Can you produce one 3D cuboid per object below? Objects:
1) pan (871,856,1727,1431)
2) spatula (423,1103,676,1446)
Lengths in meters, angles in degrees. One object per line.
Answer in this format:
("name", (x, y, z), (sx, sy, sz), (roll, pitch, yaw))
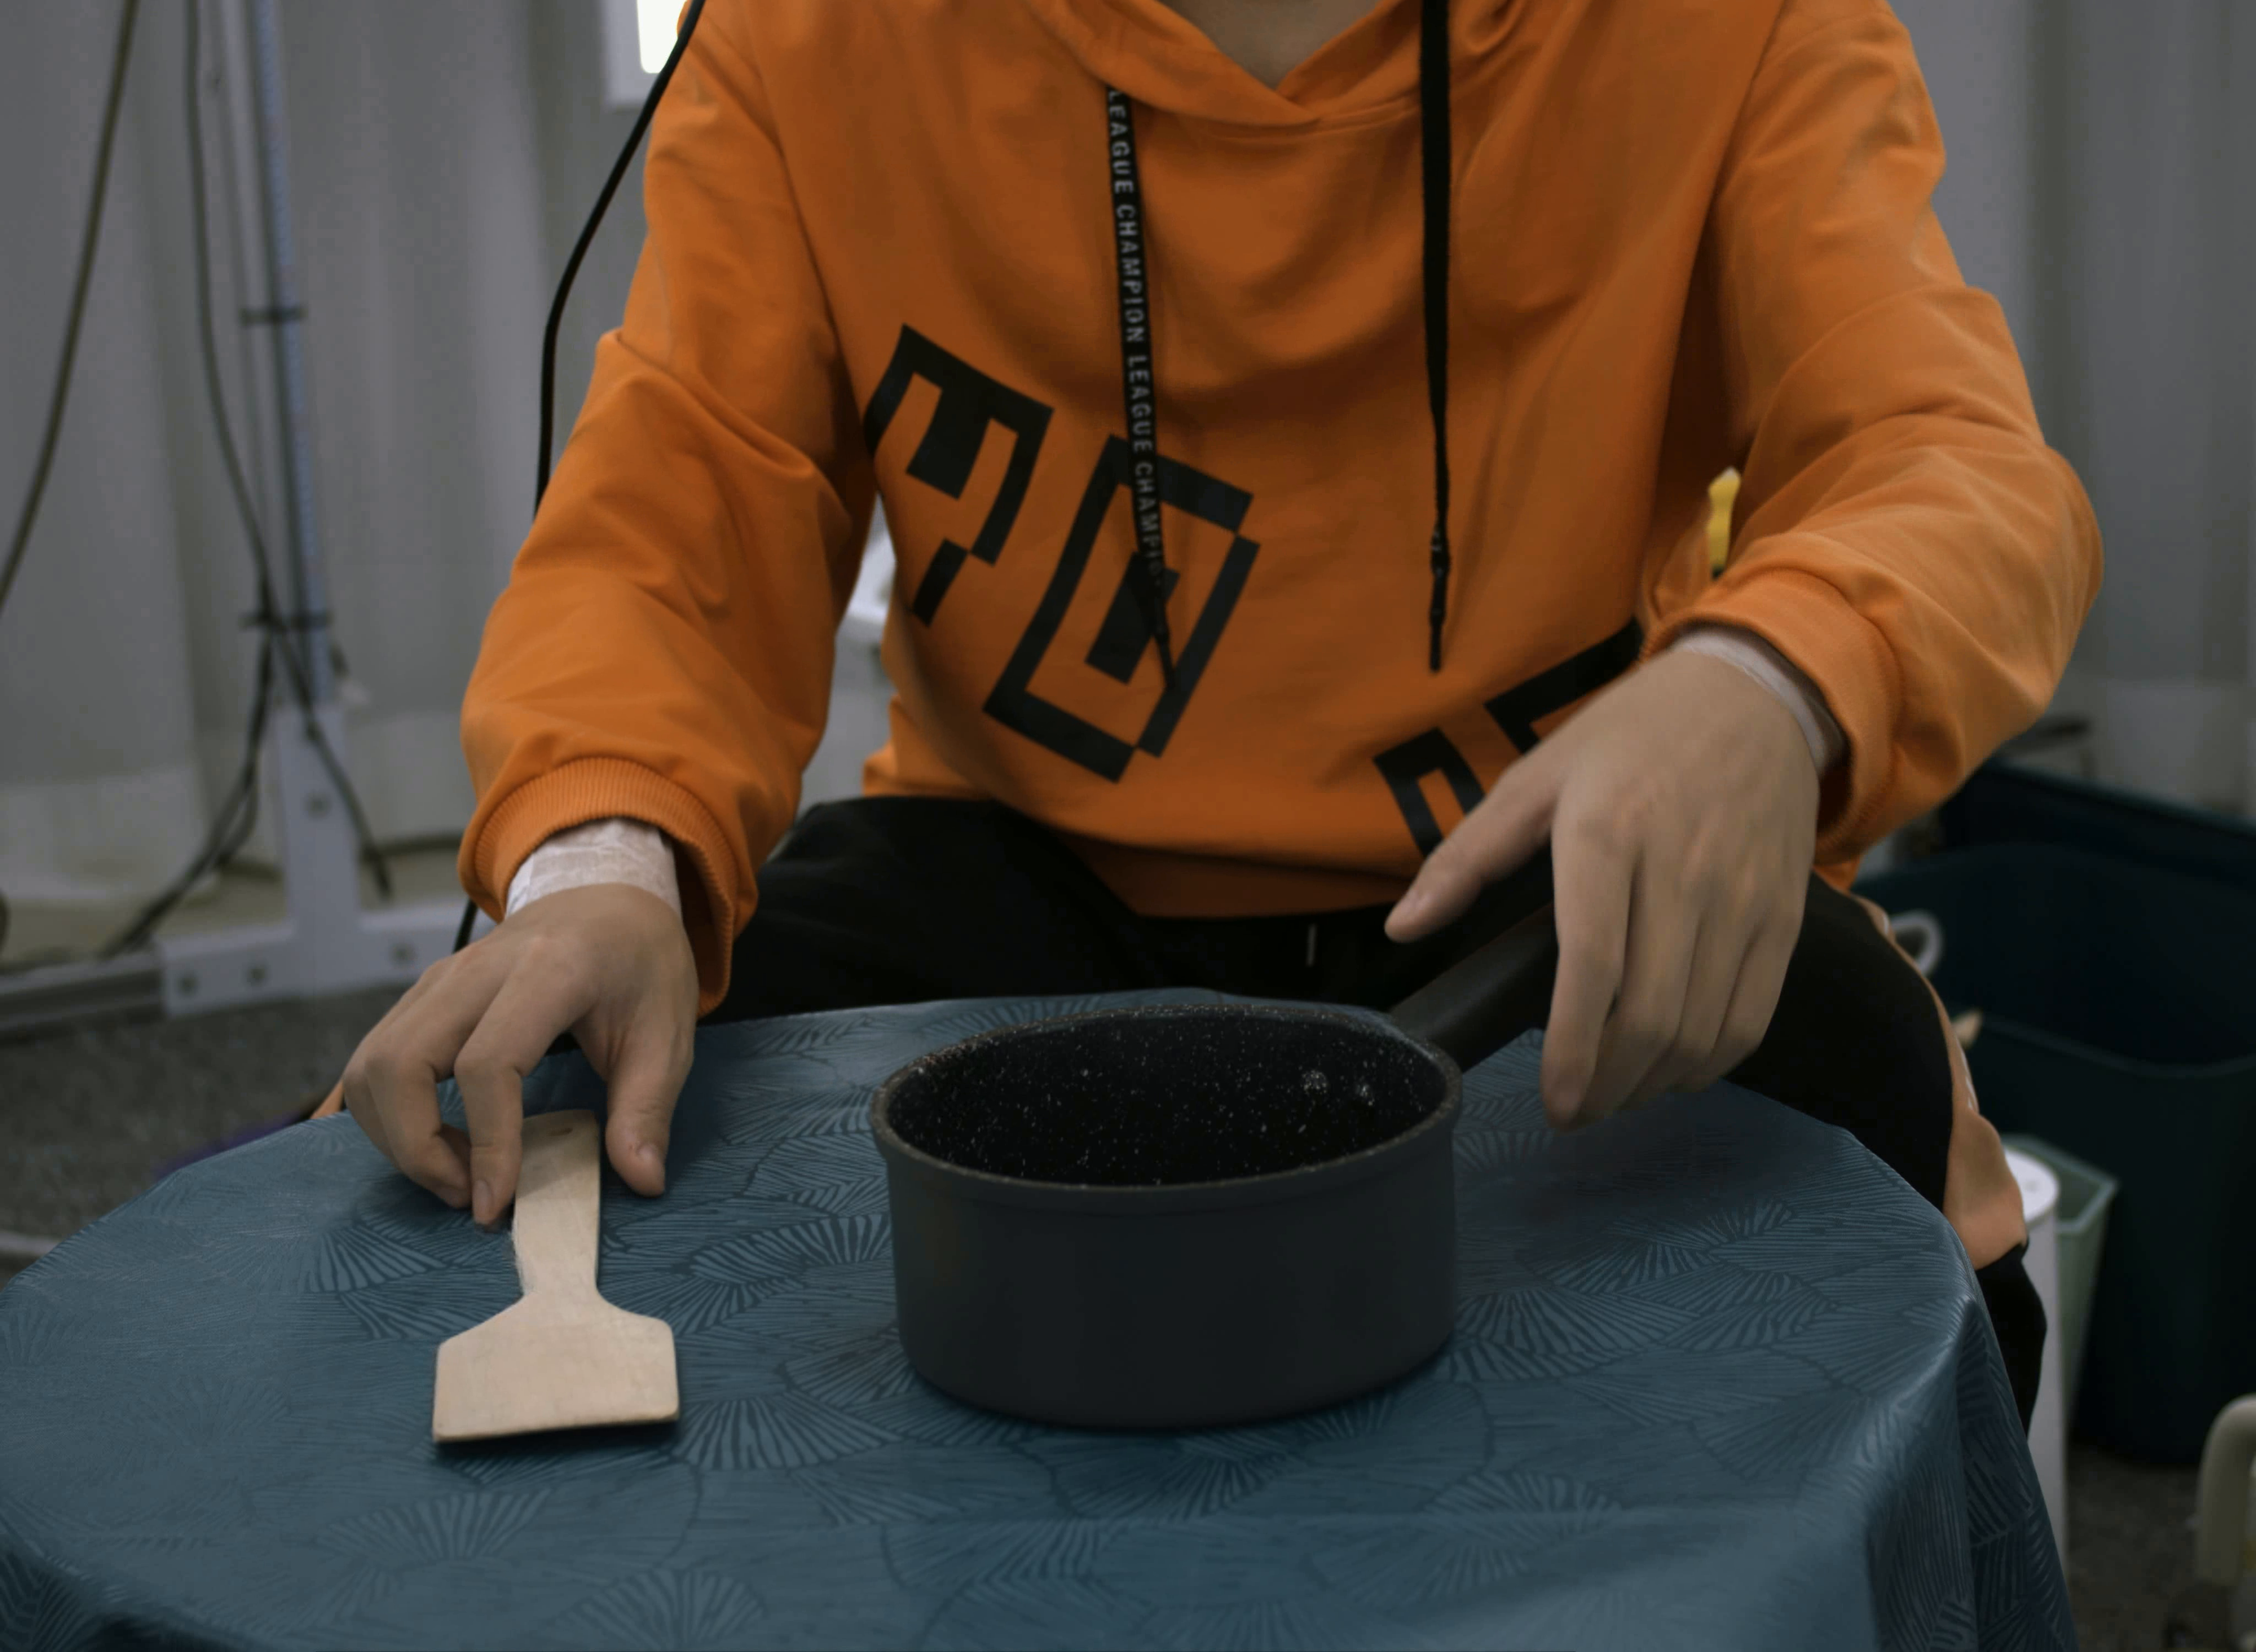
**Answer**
("pan", (0.067, 0.091, 1.631), (0.173, 0.086, 0.328), (12, 23, 42))
("spatula", (-0.174, 0.133, 1.663), (0.072, 0.010, 0.295), (-7, 15, -3))
